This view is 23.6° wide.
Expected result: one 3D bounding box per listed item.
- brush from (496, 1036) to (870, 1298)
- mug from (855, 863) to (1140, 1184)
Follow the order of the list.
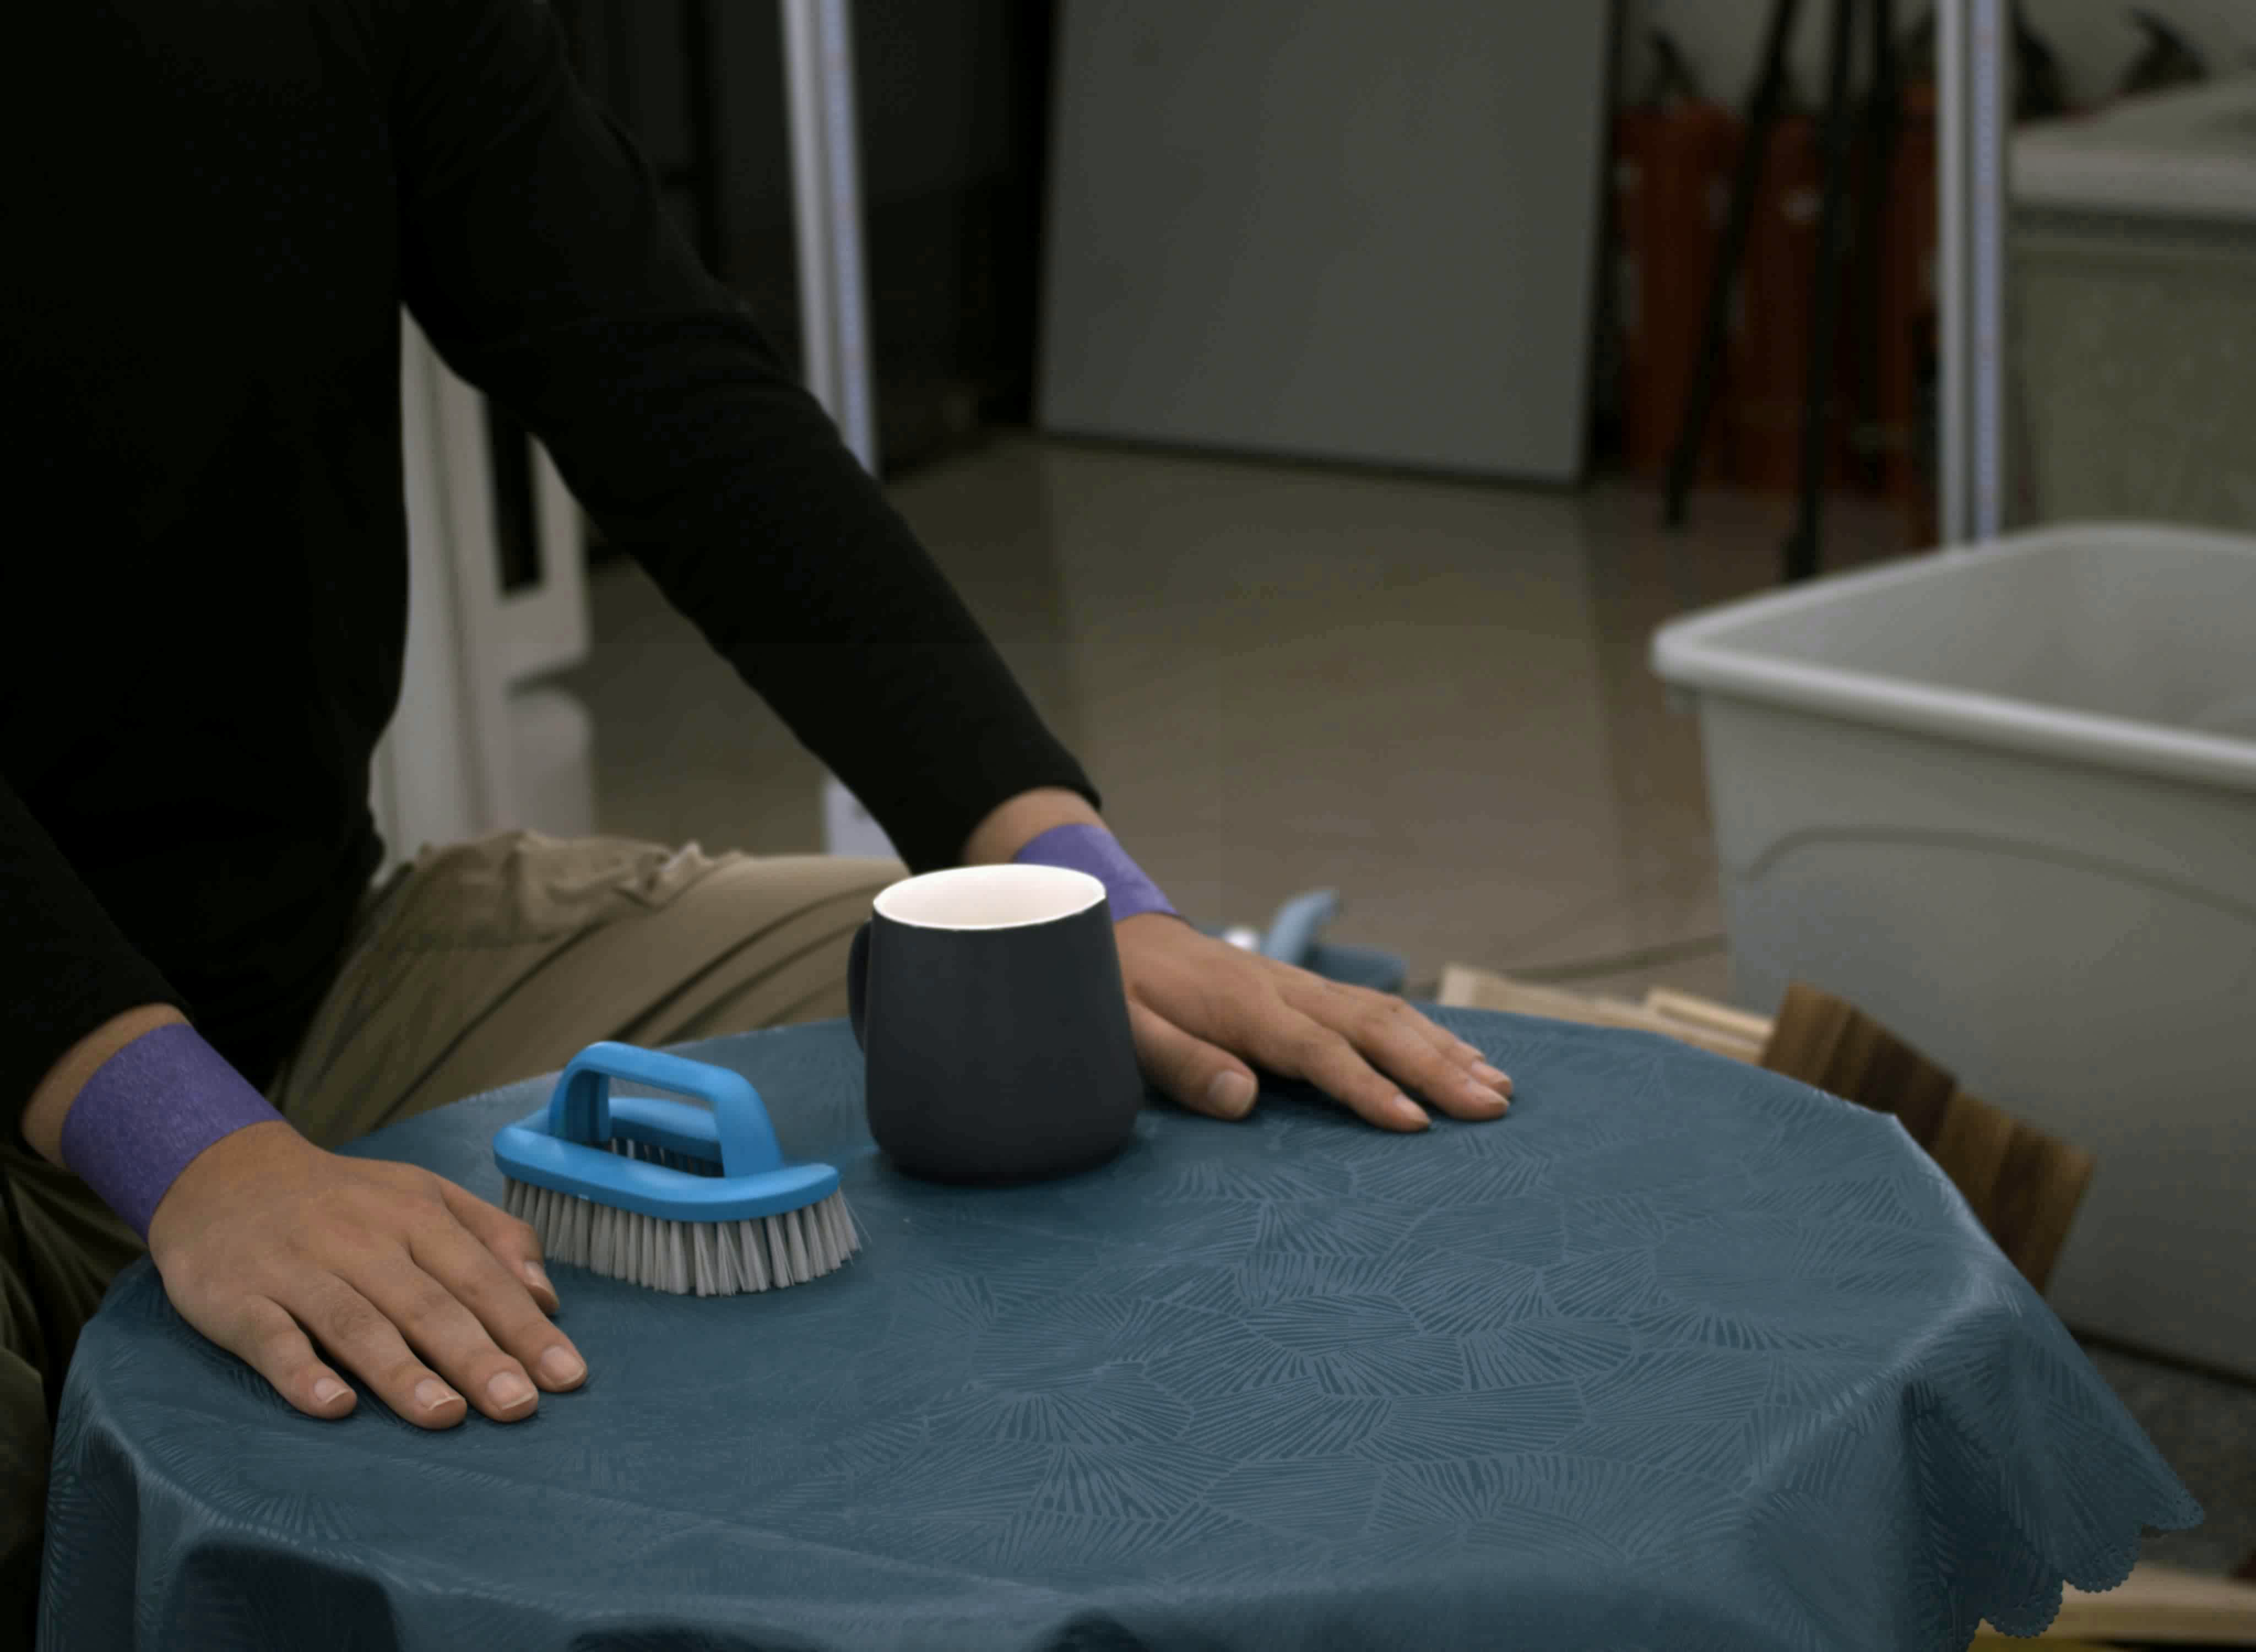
[{"bbox_3d":[-0.147,0.103,1.746,0.083,0.064,0.143,-21,20,-40],"label":"brush"},{"bbox_3d":[-0.052,0.063,1.822,0.091,0.091,0.124,-13,17,-35],"label":"mug"}]
